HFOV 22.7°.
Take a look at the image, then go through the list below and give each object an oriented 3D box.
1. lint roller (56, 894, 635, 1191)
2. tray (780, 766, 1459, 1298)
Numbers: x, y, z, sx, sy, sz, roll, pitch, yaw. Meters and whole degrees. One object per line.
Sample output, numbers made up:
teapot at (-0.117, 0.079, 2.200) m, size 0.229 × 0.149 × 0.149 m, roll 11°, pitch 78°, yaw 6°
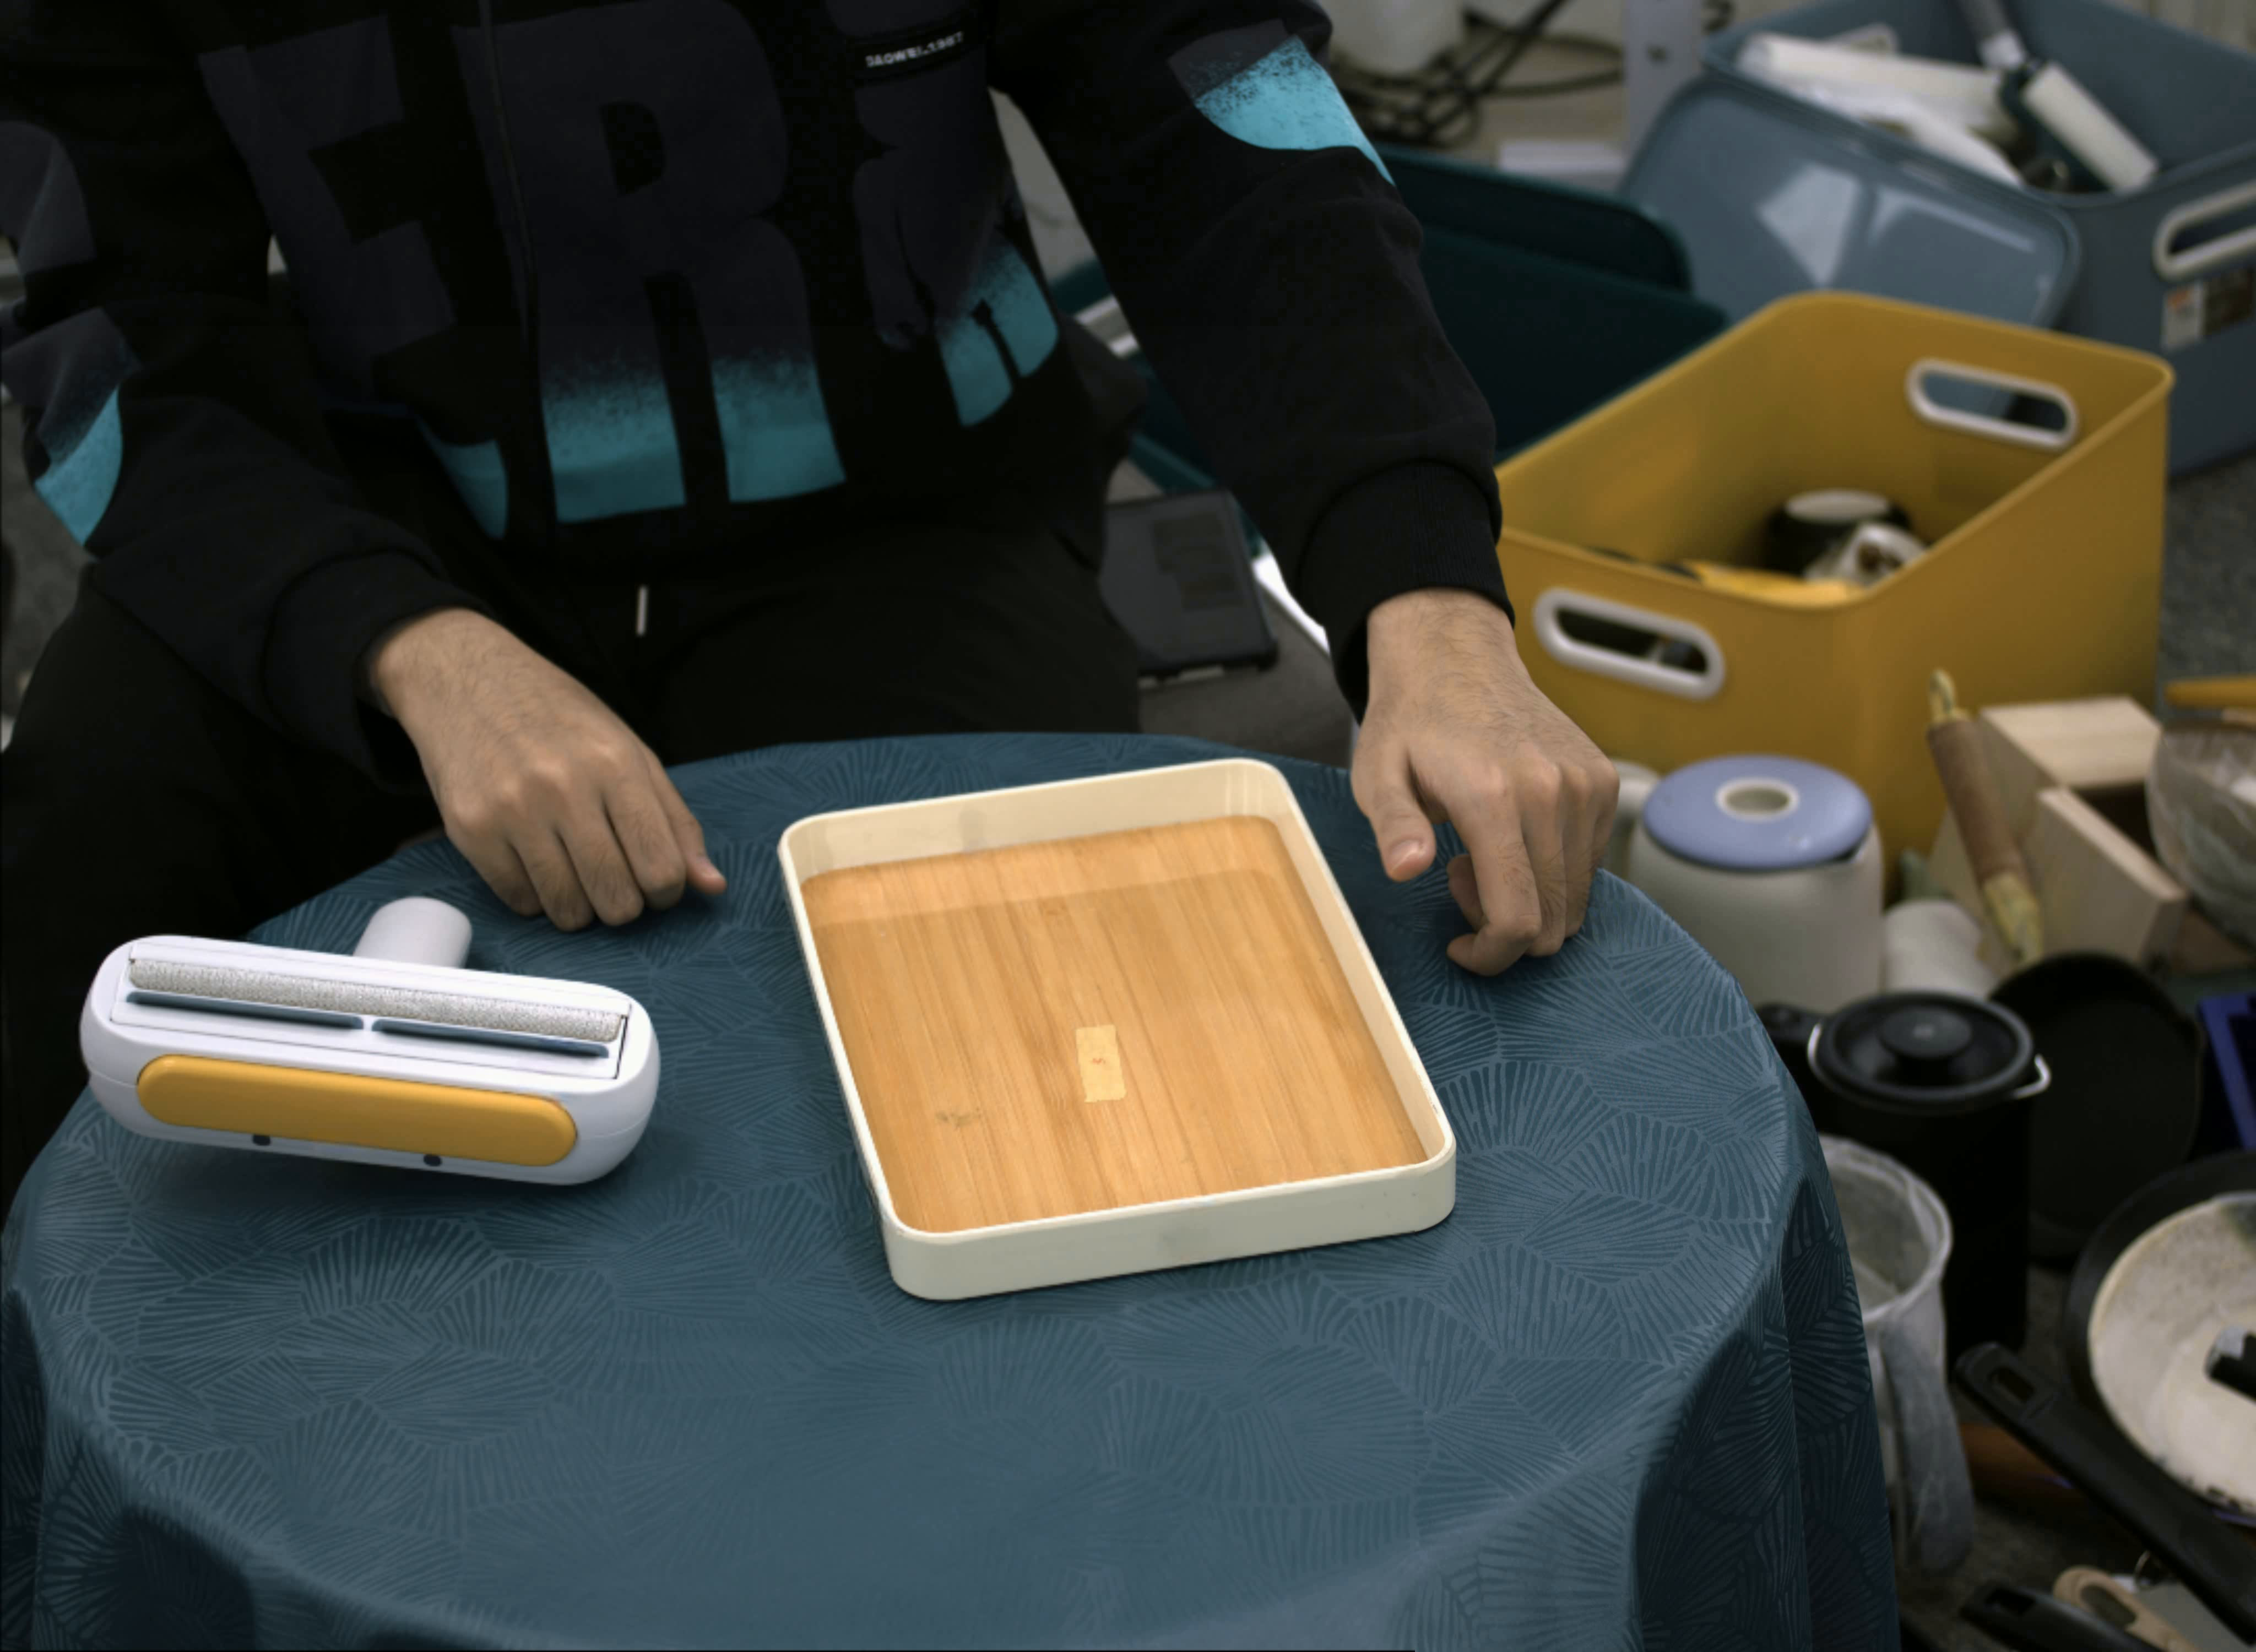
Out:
lint roller at (-0.256, 0.059, 1.934) m, size 0.192 × 0.073 × 0.195 m, roll 4°, pitch 26°, yaw 3°
tray at (-0.009, 0.066, 1.940) m, size 0.191 × 0.027 × 0.304 m, roll -6°, pitch 28°, yaw -9°
